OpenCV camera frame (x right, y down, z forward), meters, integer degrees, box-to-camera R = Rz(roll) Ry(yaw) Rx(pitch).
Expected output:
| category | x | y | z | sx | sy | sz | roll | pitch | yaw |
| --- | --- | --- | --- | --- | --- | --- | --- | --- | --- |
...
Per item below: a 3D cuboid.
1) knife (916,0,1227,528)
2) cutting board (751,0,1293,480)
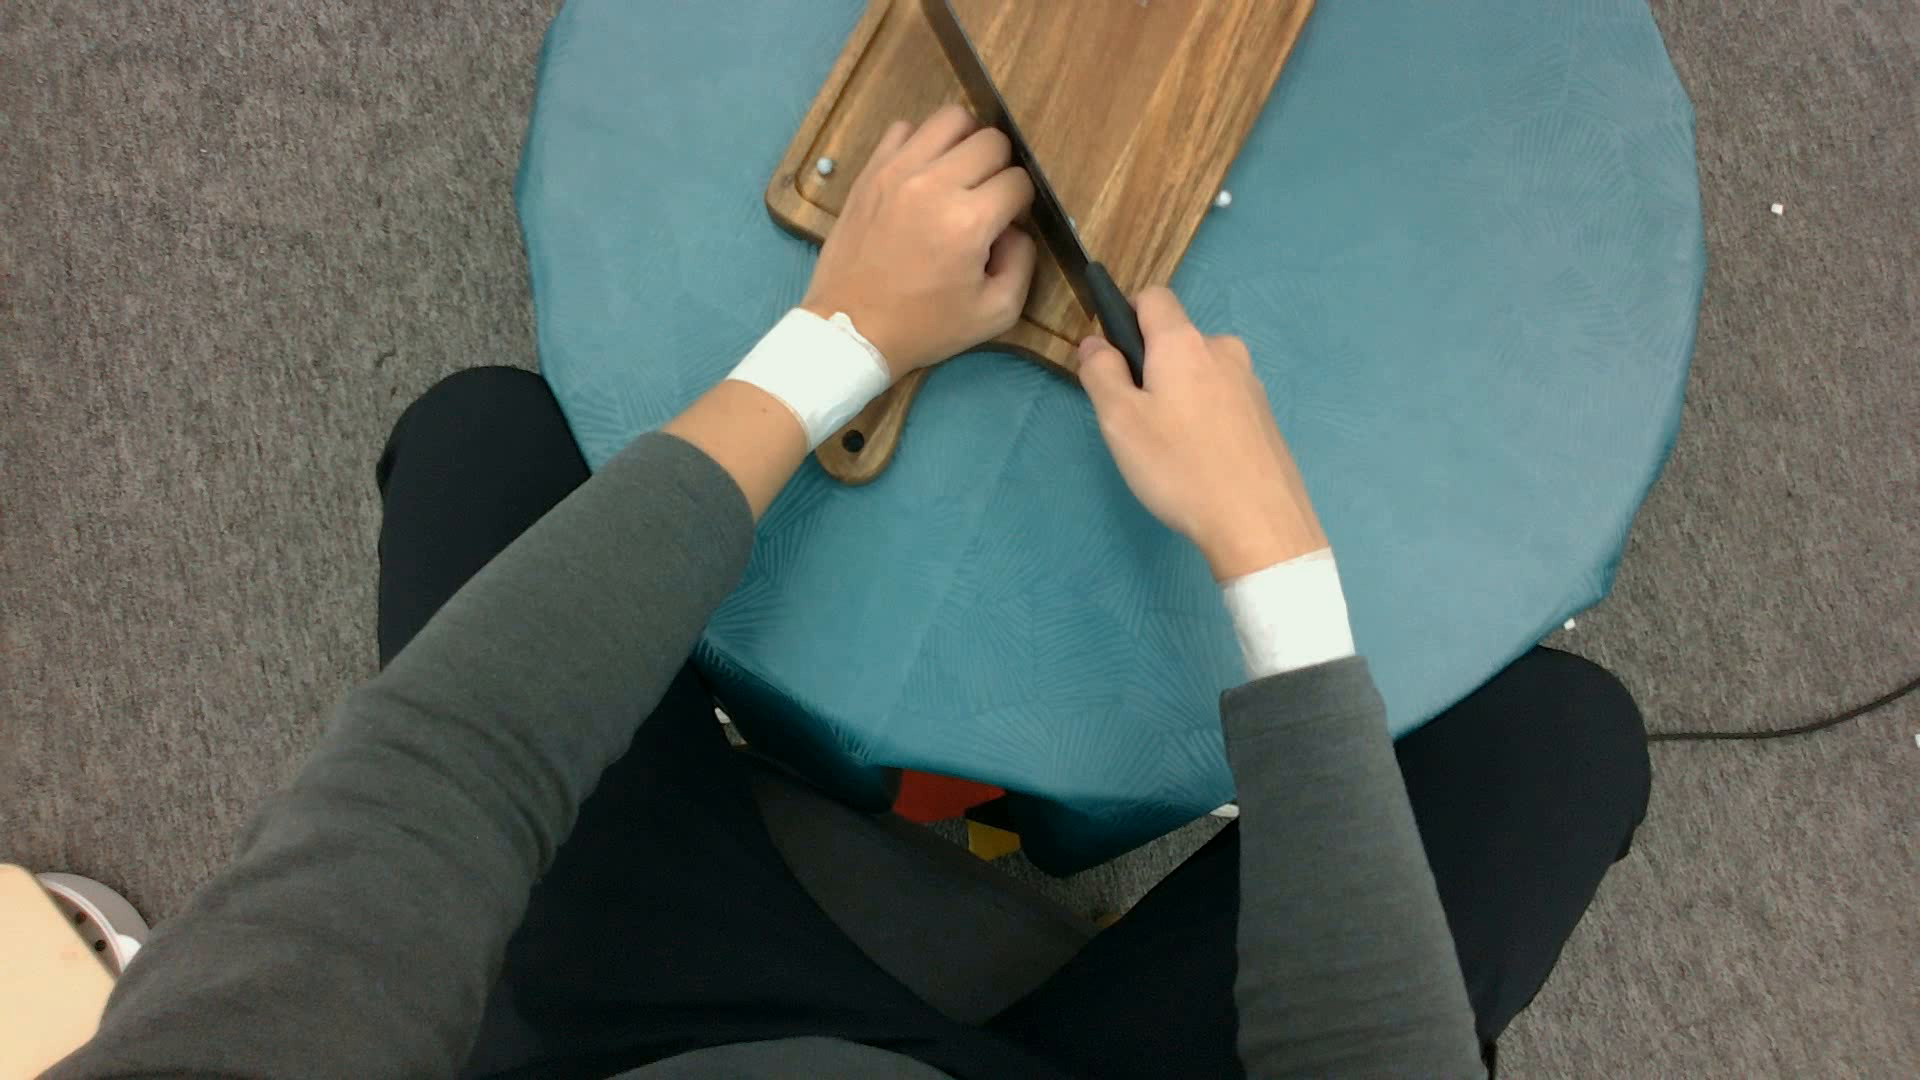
| category | x | y | z | sx | sy | sz | roll | pitch | yaw |
| --- | --- | --- | --- | --- | --- | --- | --- | --- | --- |
| knife | 0.044 | -0.141 | 0.641 | 0.021 | 0.081 | 0.302 | -28 | 81 | -2 |
| cutting board | 0.015 | -0.188 | 0.689 | 0.201 | 0.023 | 0.352 | 28 | 83 | 1 |
